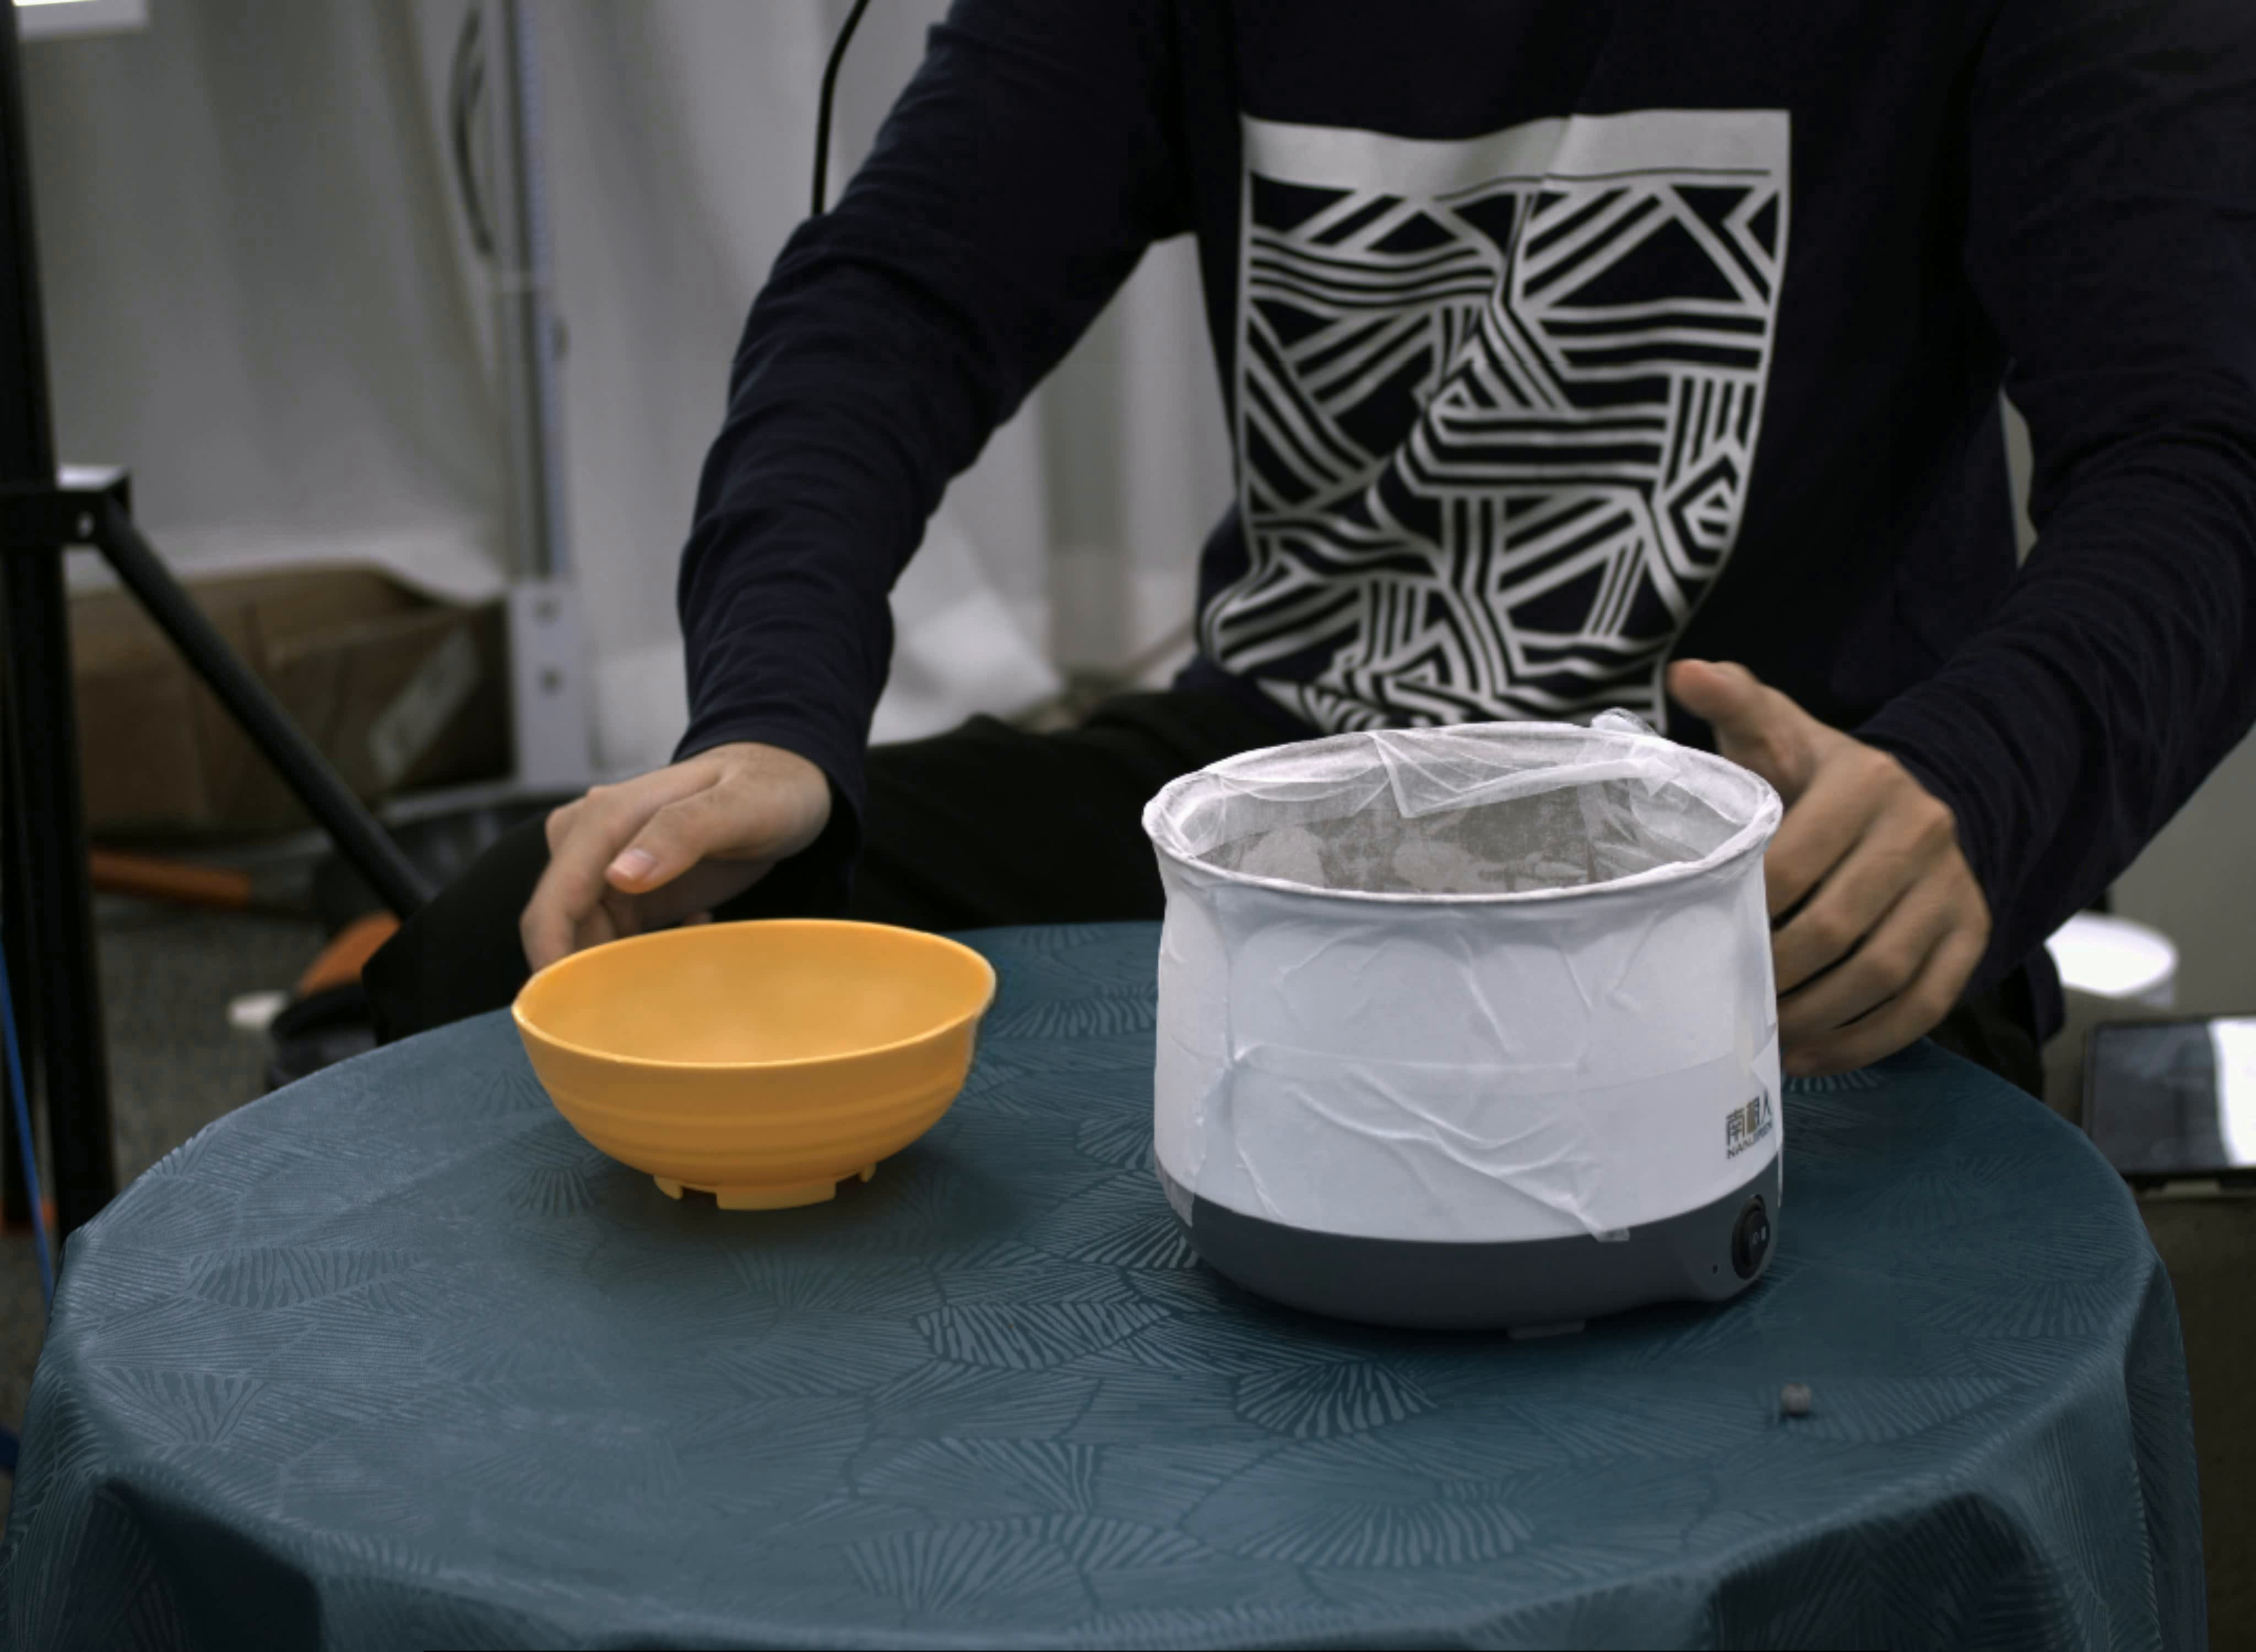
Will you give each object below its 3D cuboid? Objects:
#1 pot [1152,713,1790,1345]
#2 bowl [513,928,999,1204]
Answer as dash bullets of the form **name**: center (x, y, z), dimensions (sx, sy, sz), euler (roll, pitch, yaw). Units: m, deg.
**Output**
- **pot**: center (0.109, 0.050, 1.503), dimensions (0.182, 0.136, 0.229), euler (7, 17, 30)
- **bowl**: center (-0.109, 0.075, 1.582), dimensions (0.144, 0.060, 0.146), euler (-3, 13, -1)
